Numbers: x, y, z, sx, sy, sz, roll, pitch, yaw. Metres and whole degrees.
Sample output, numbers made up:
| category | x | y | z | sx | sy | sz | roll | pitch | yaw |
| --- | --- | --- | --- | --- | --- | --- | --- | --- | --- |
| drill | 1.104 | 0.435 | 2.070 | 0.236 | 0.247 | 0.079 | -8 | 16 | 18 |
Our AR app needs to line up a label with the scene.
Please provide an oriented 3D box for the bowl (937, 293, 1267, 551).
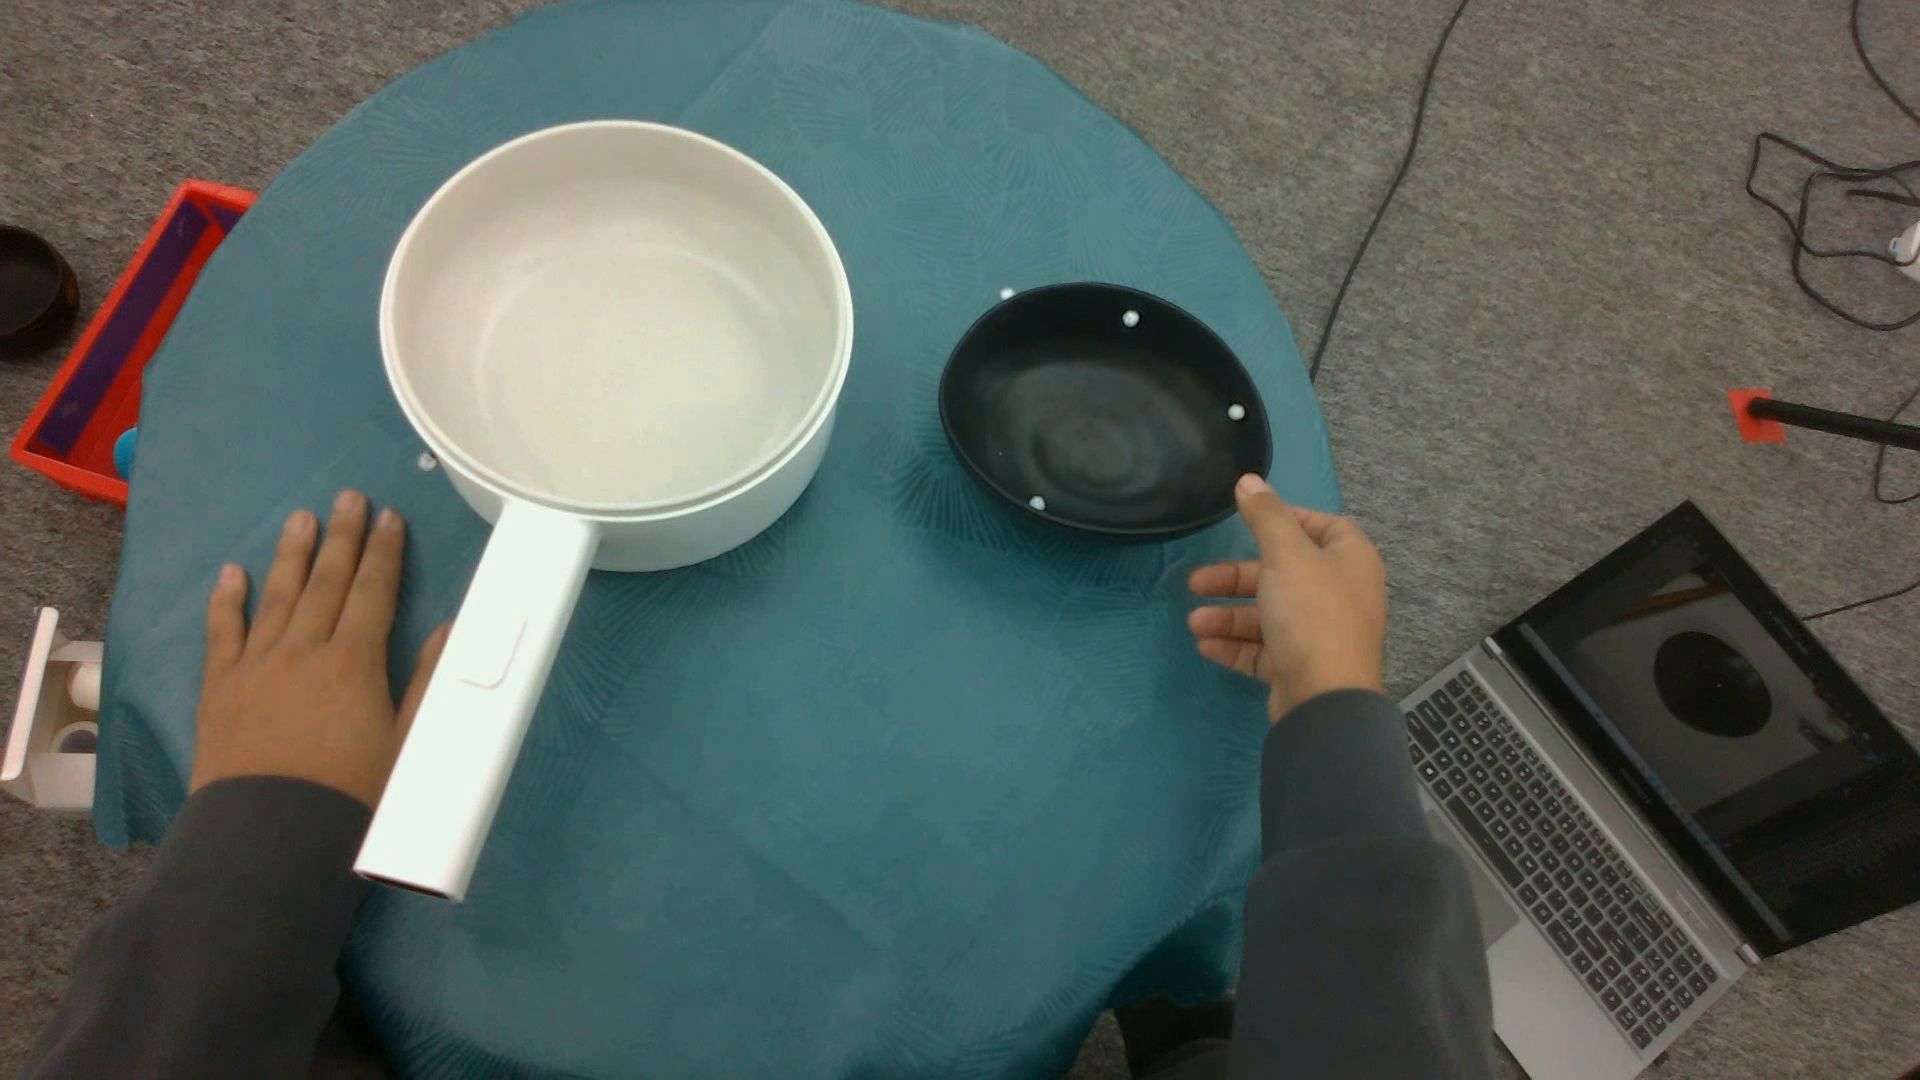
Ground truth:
| category | x | y | z | sx | sy | sz | roll | pitch | yaw |
| --- | --- | --- | --- | --- | --- | --- | --- | --- | --- |
| bowl | 0.070 | -0.052 | 0.706 | 0.170 | 0.066 | 0.138 | 7 | 67 | -6 |

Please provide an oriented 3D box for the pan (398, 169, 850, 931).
| category | x | y | z | sx | sy | sz | roll | pitch | yaw |
| --- | --- | --- | --- | --- | --- | --- | --- | --- | --- |
| pan | -0.171 | 0.001 | 0.641 | 0.201 | 0.101 | 0.356 | 13 | 68 | -4 |
